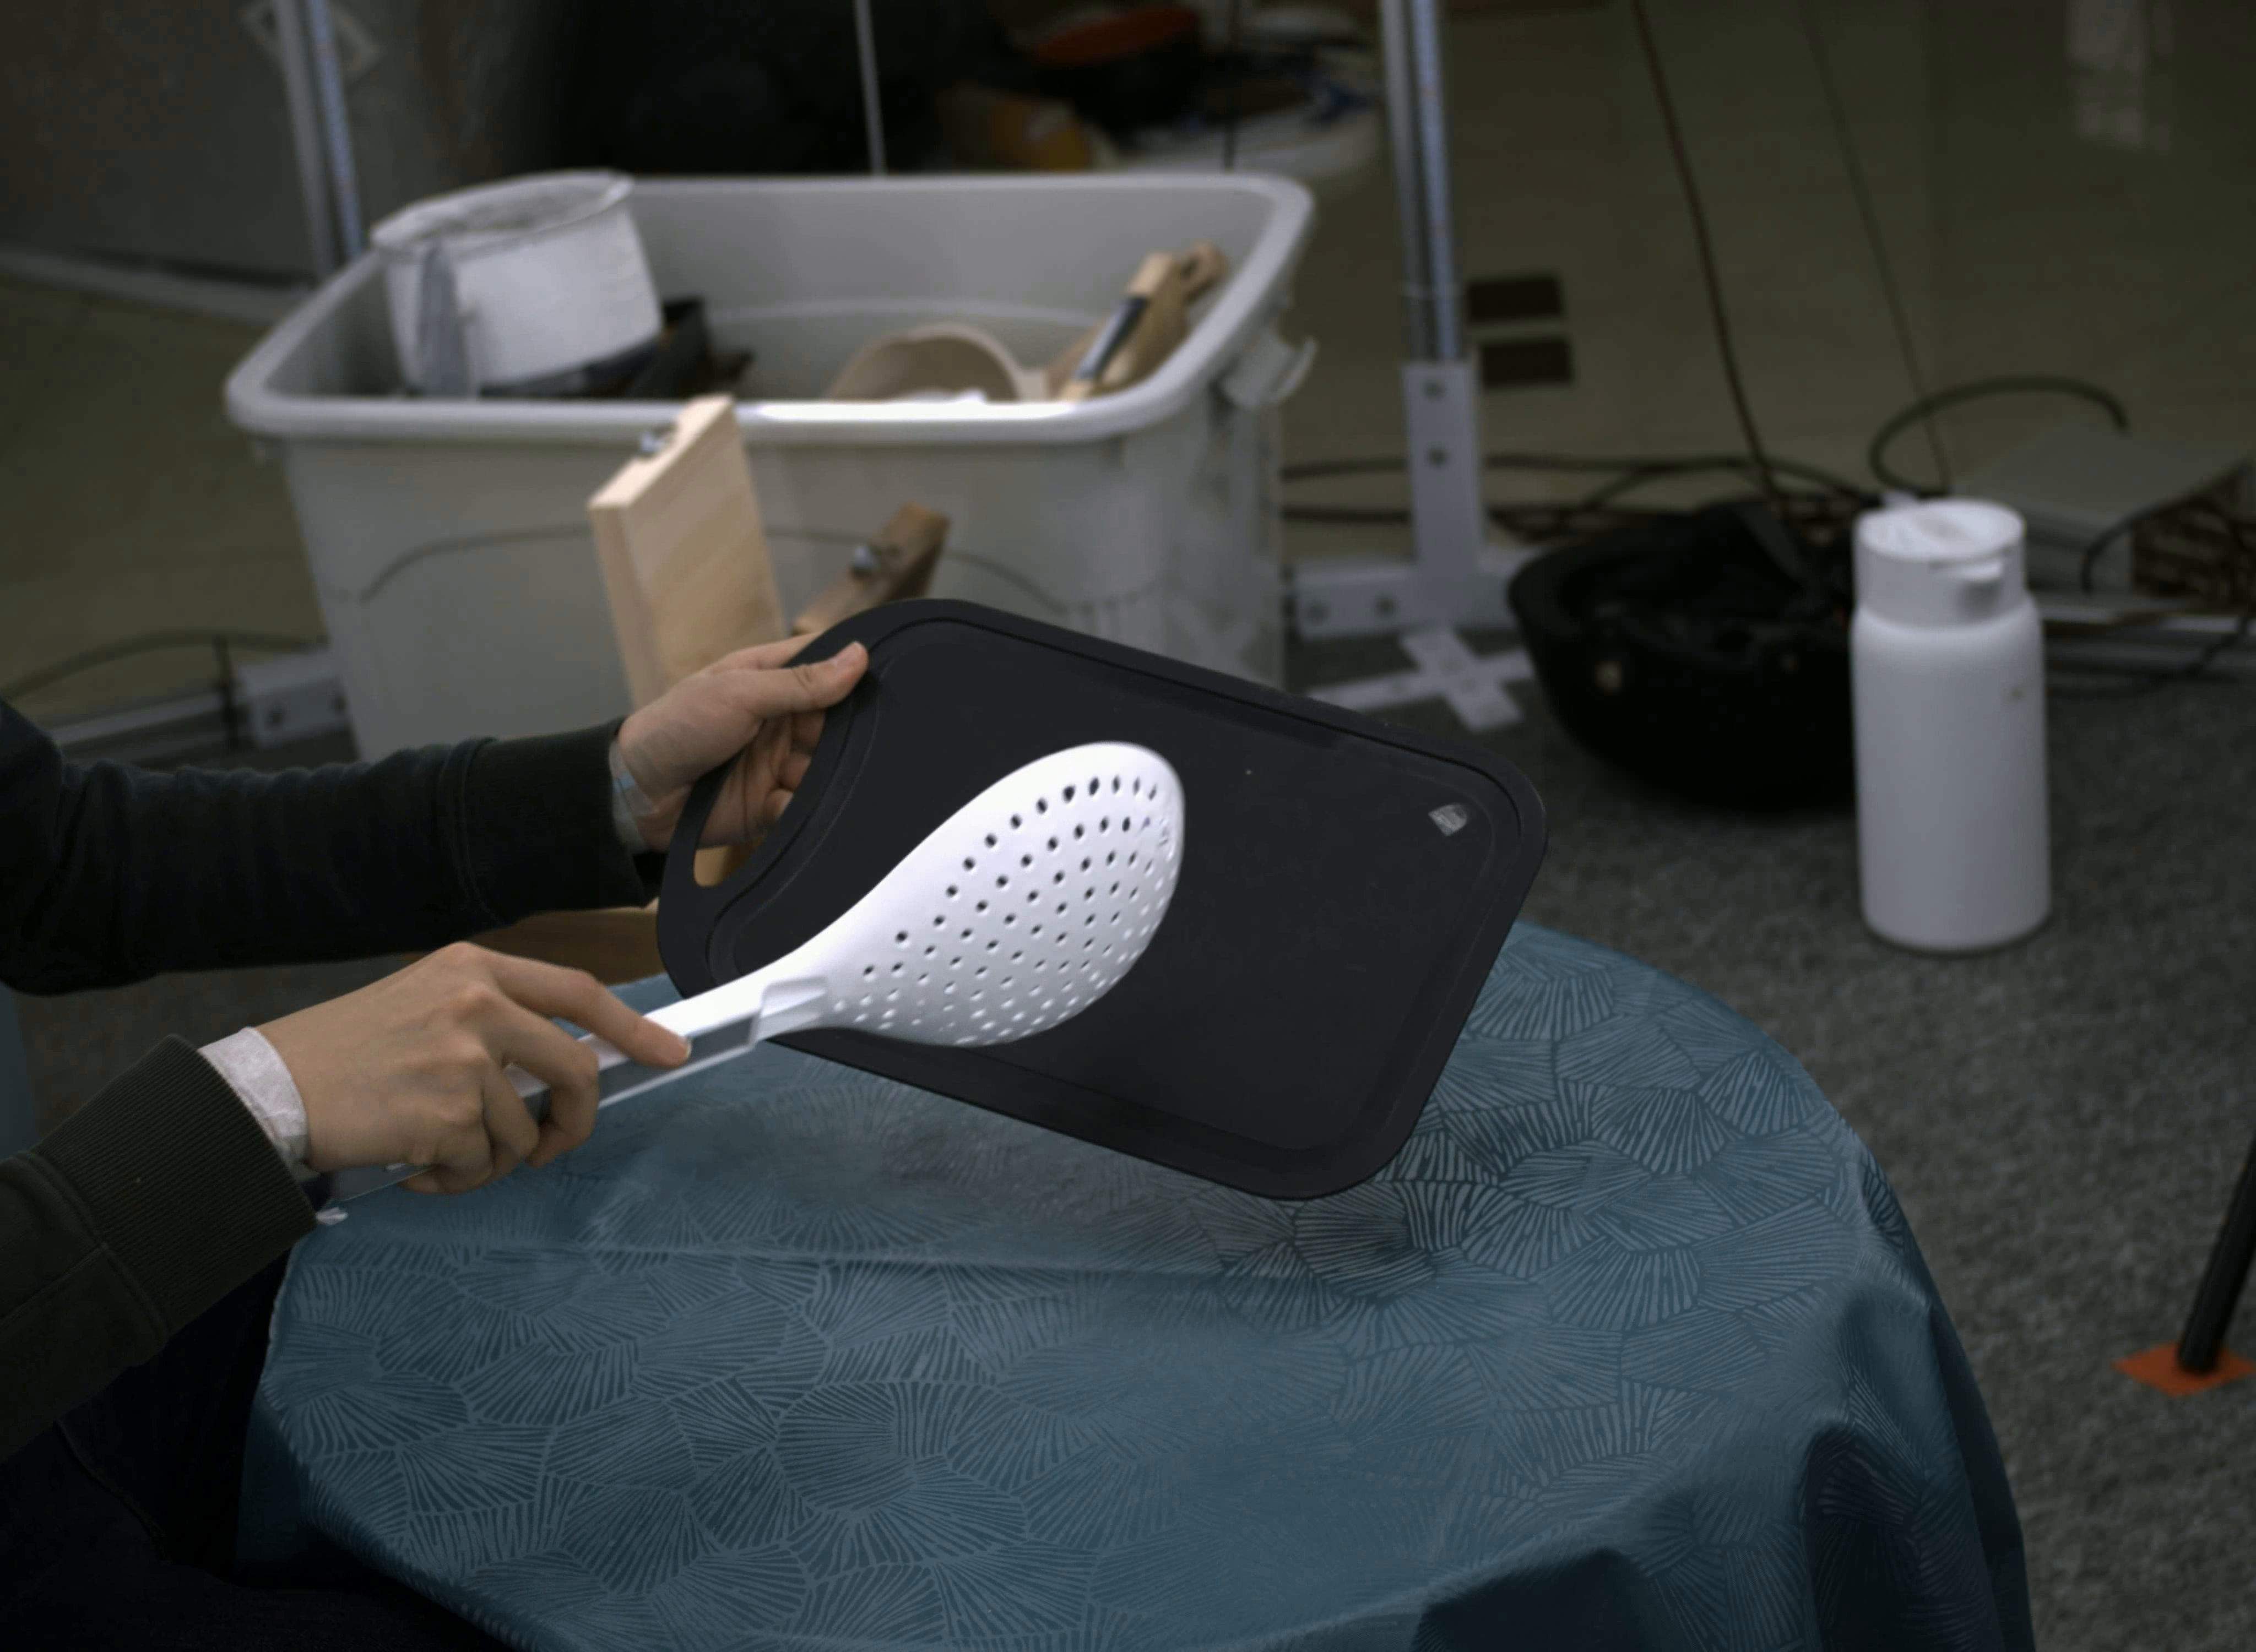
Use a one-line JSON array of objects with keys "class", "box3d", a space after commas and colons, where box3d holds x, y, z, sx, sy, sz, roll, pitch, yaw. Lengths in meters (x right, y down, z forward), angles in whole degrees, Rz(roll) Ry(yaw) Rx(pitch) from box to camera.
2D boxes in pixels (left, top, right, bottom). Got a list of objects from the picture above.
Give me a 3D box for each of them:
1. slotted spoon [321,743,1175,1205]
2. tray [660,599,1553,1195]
[{"class": "slotted spoon", "box3d": [-0.122, 0.061, 1.953, 0.348, 0.138, 0.045, -16, 49, -27]}, {"class": "tray", "box3d": [-0.016, 0.020, 2.128, 0.324, 0.010, 0.208, 17, 61, 20]}]
